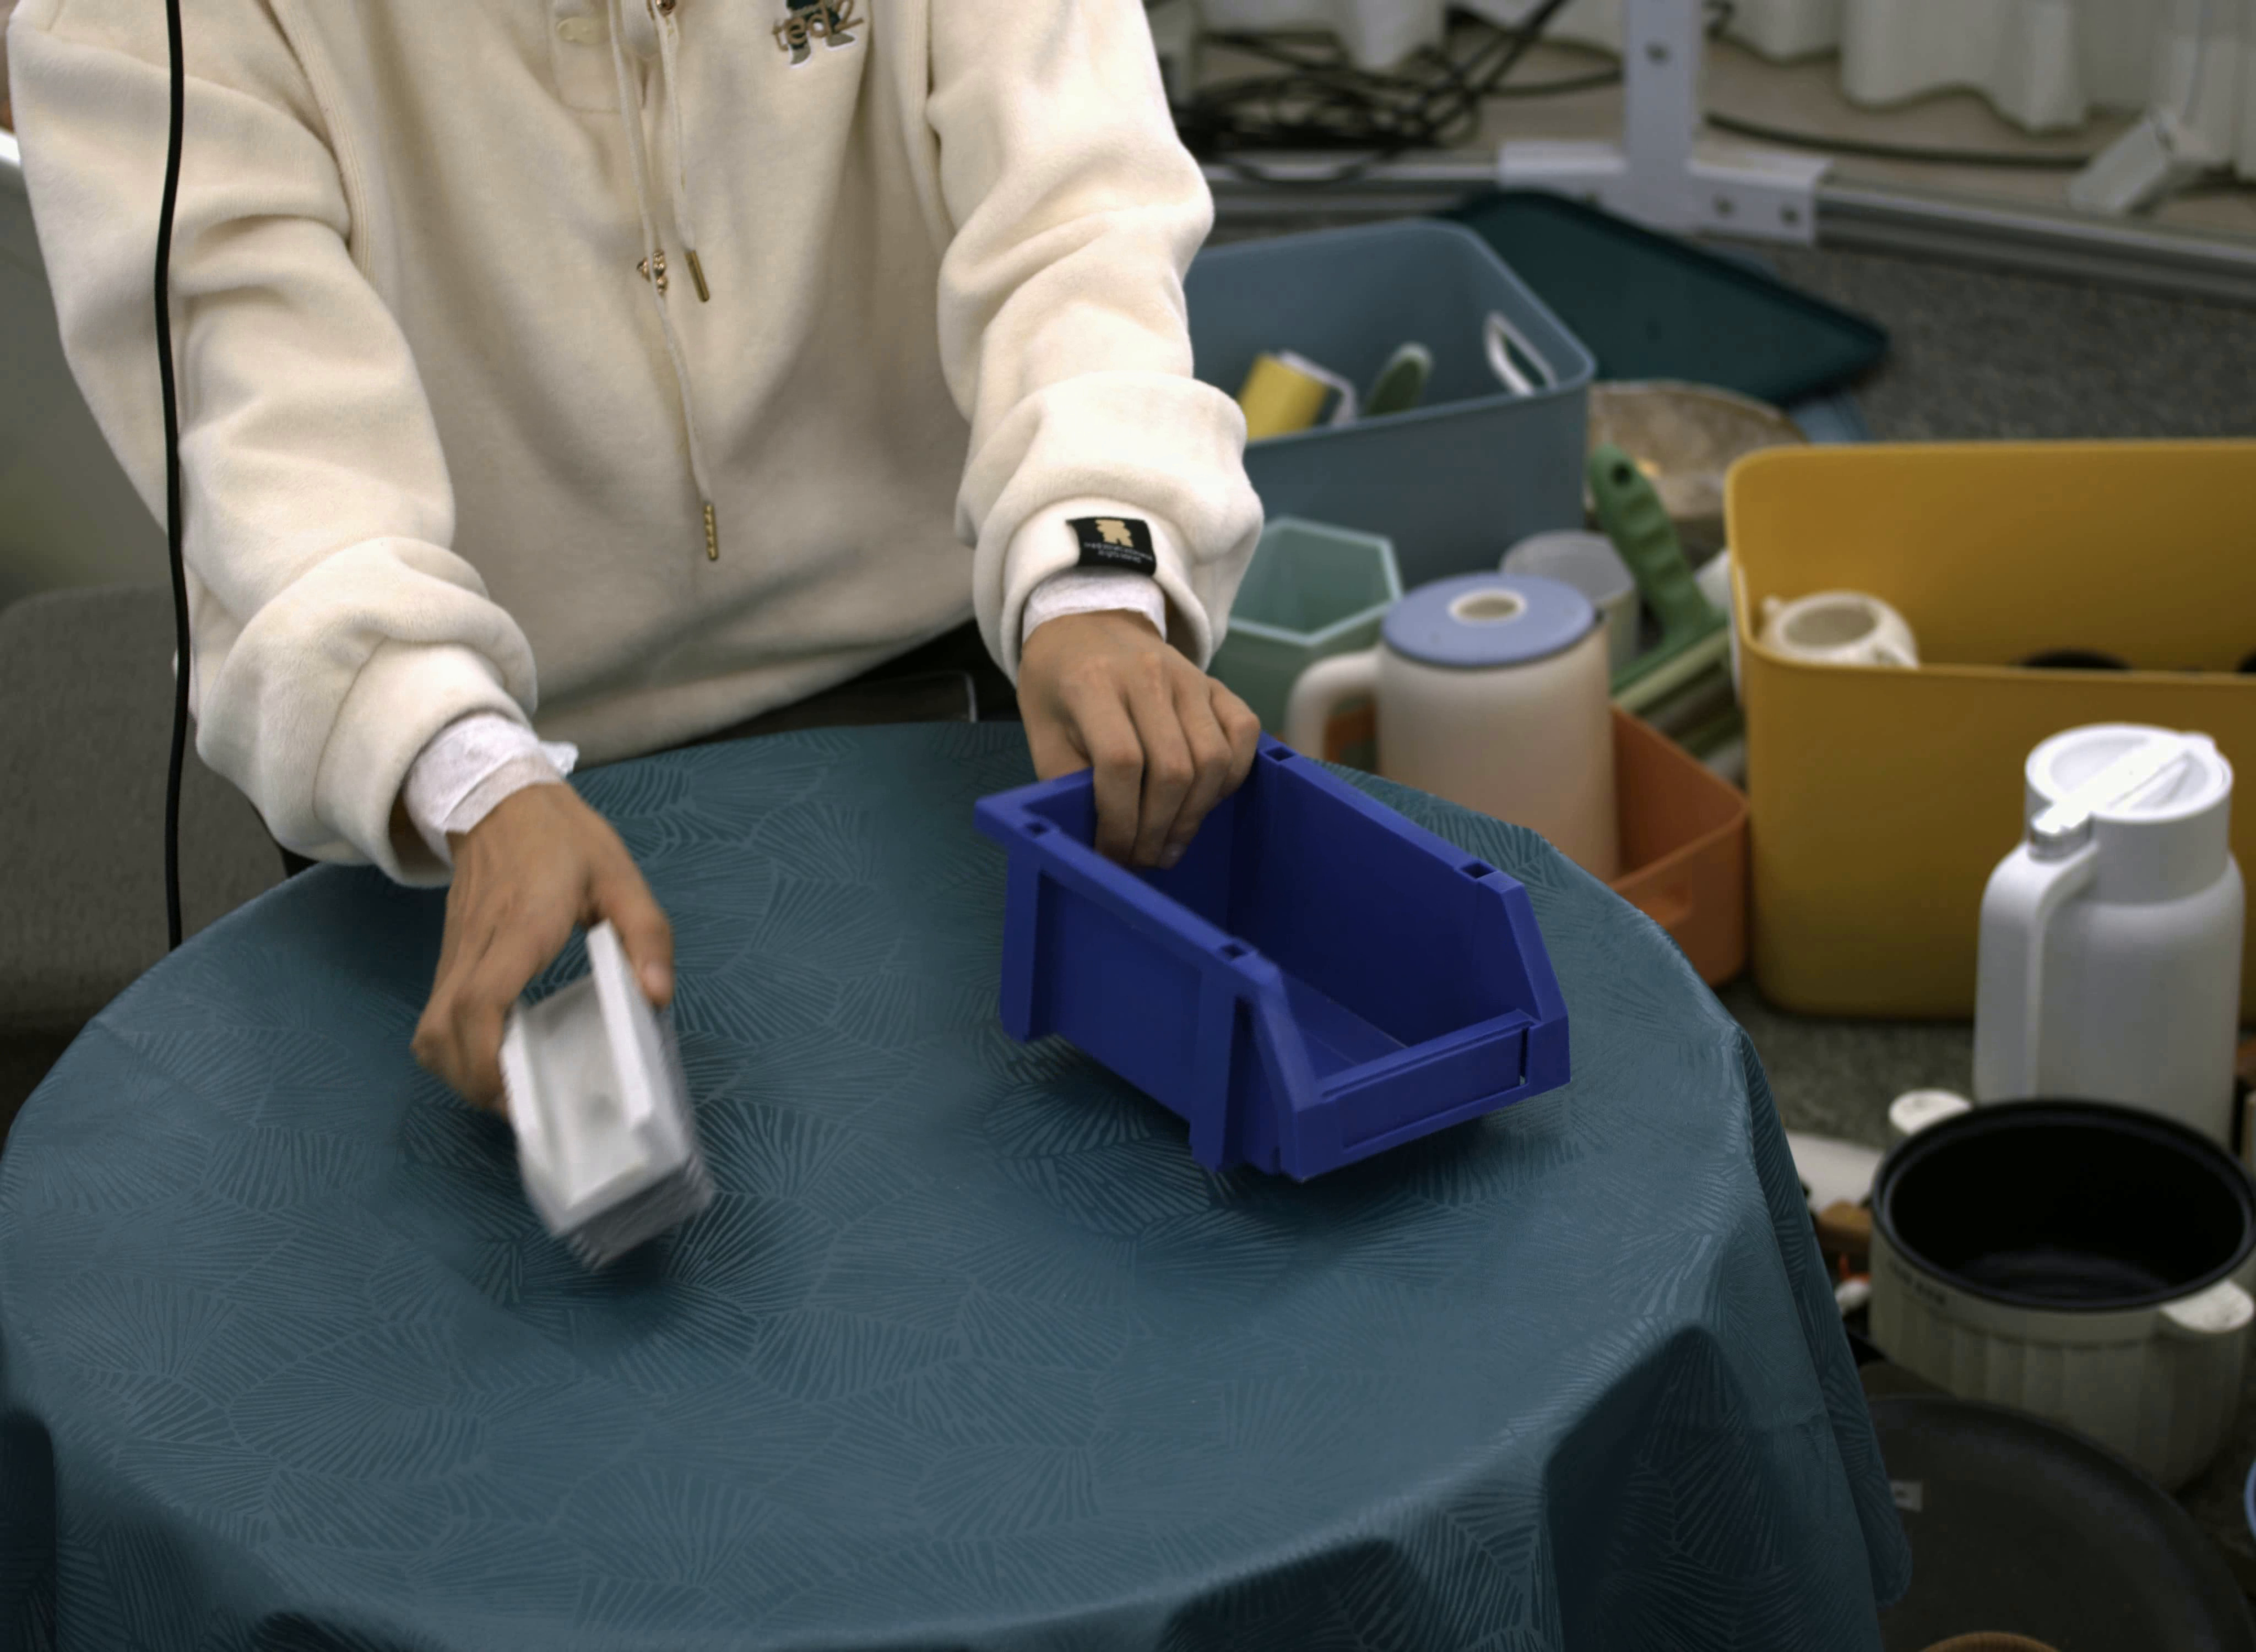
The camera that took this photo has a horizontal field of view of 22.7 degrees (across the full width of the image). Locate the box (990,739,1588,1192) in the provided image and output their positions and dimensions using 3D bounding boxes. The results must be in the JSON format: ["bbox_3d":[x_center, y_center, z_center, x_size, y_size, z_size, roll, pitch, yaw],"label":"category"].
[{"bbox_3d":[0.054,0.051,1.892,0.125,0.081,0.179,-16,30,-33],"label":"box"}]

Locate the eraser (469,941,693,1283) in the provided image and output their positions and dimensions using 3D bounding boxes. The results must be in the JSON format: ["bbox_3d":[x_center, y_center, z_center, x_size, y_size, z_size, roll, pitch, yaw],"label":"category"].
[{"bbox_3d":[-0.180,0.094,1.853,0.049,0.046,0.136,-30,29,2],"label":"eraser"}]
